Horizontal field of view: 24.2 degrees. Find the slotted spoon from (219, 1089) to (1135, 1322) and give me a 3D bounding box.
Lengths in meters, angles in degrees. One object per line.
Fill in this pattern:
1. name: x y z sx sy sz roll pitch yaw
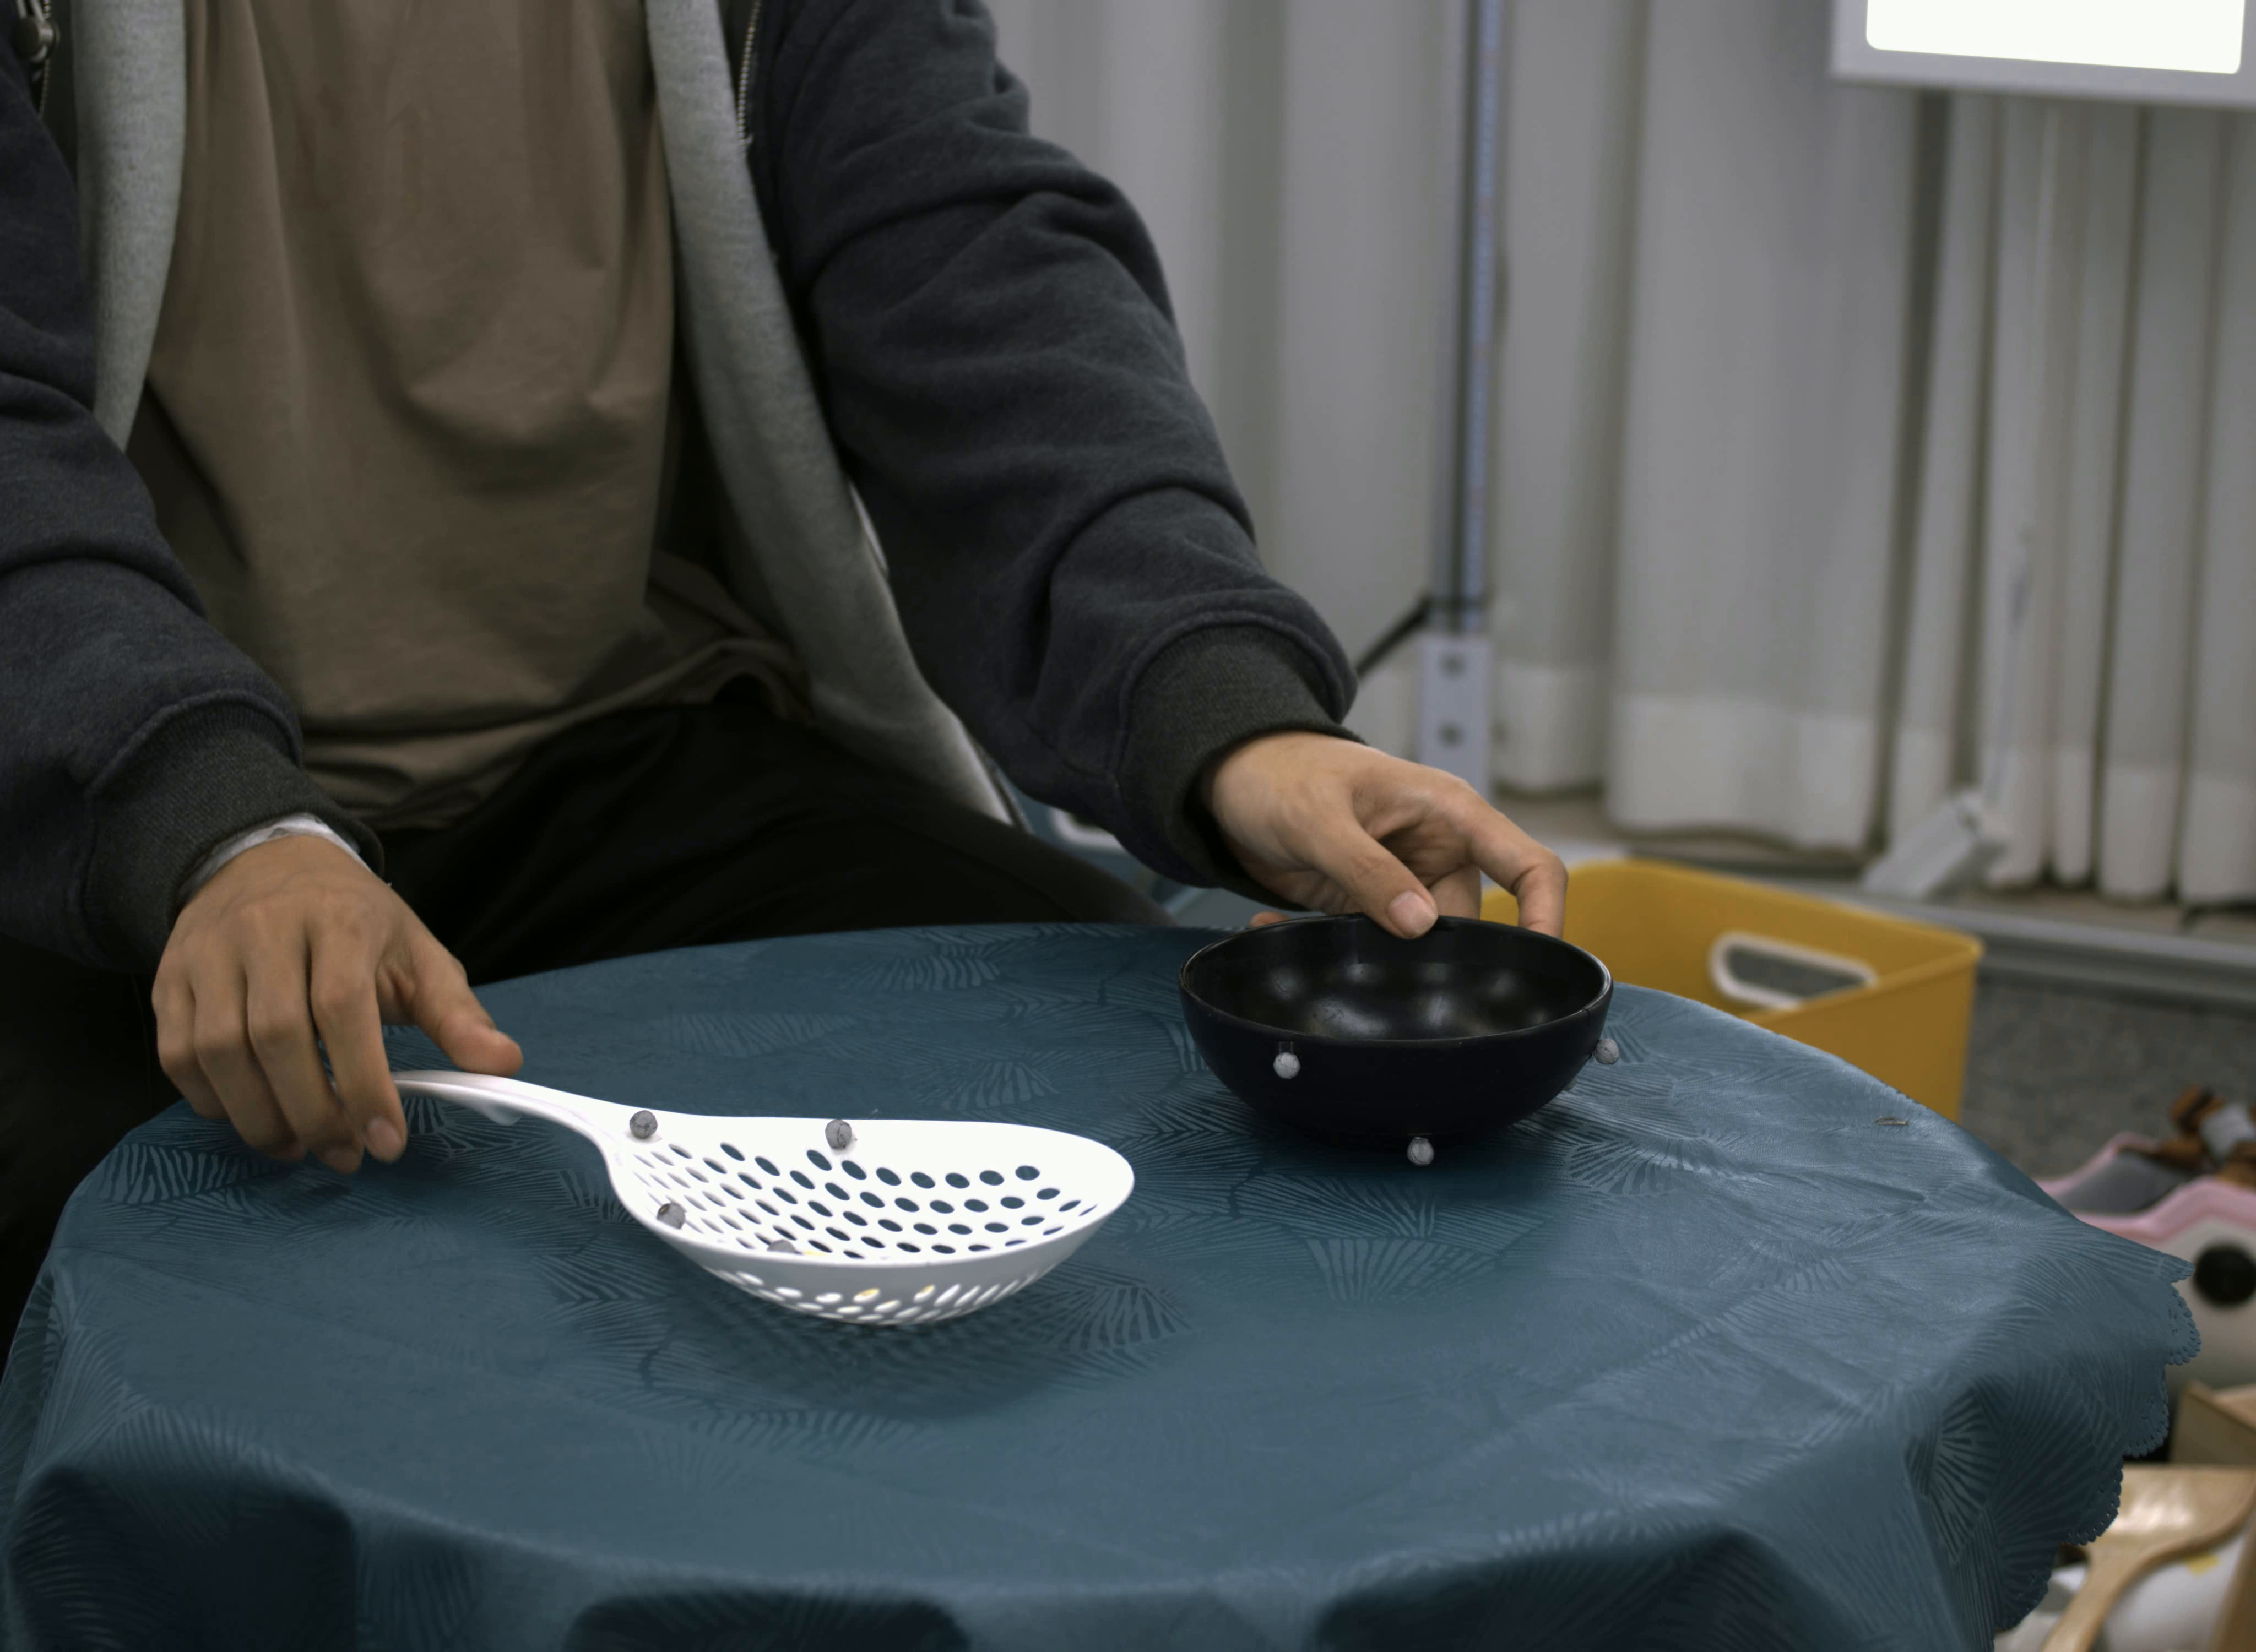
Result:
1. slotted spoon: -0.150 0.101 1.583 0.343 0.051 0.137 12 23 37
